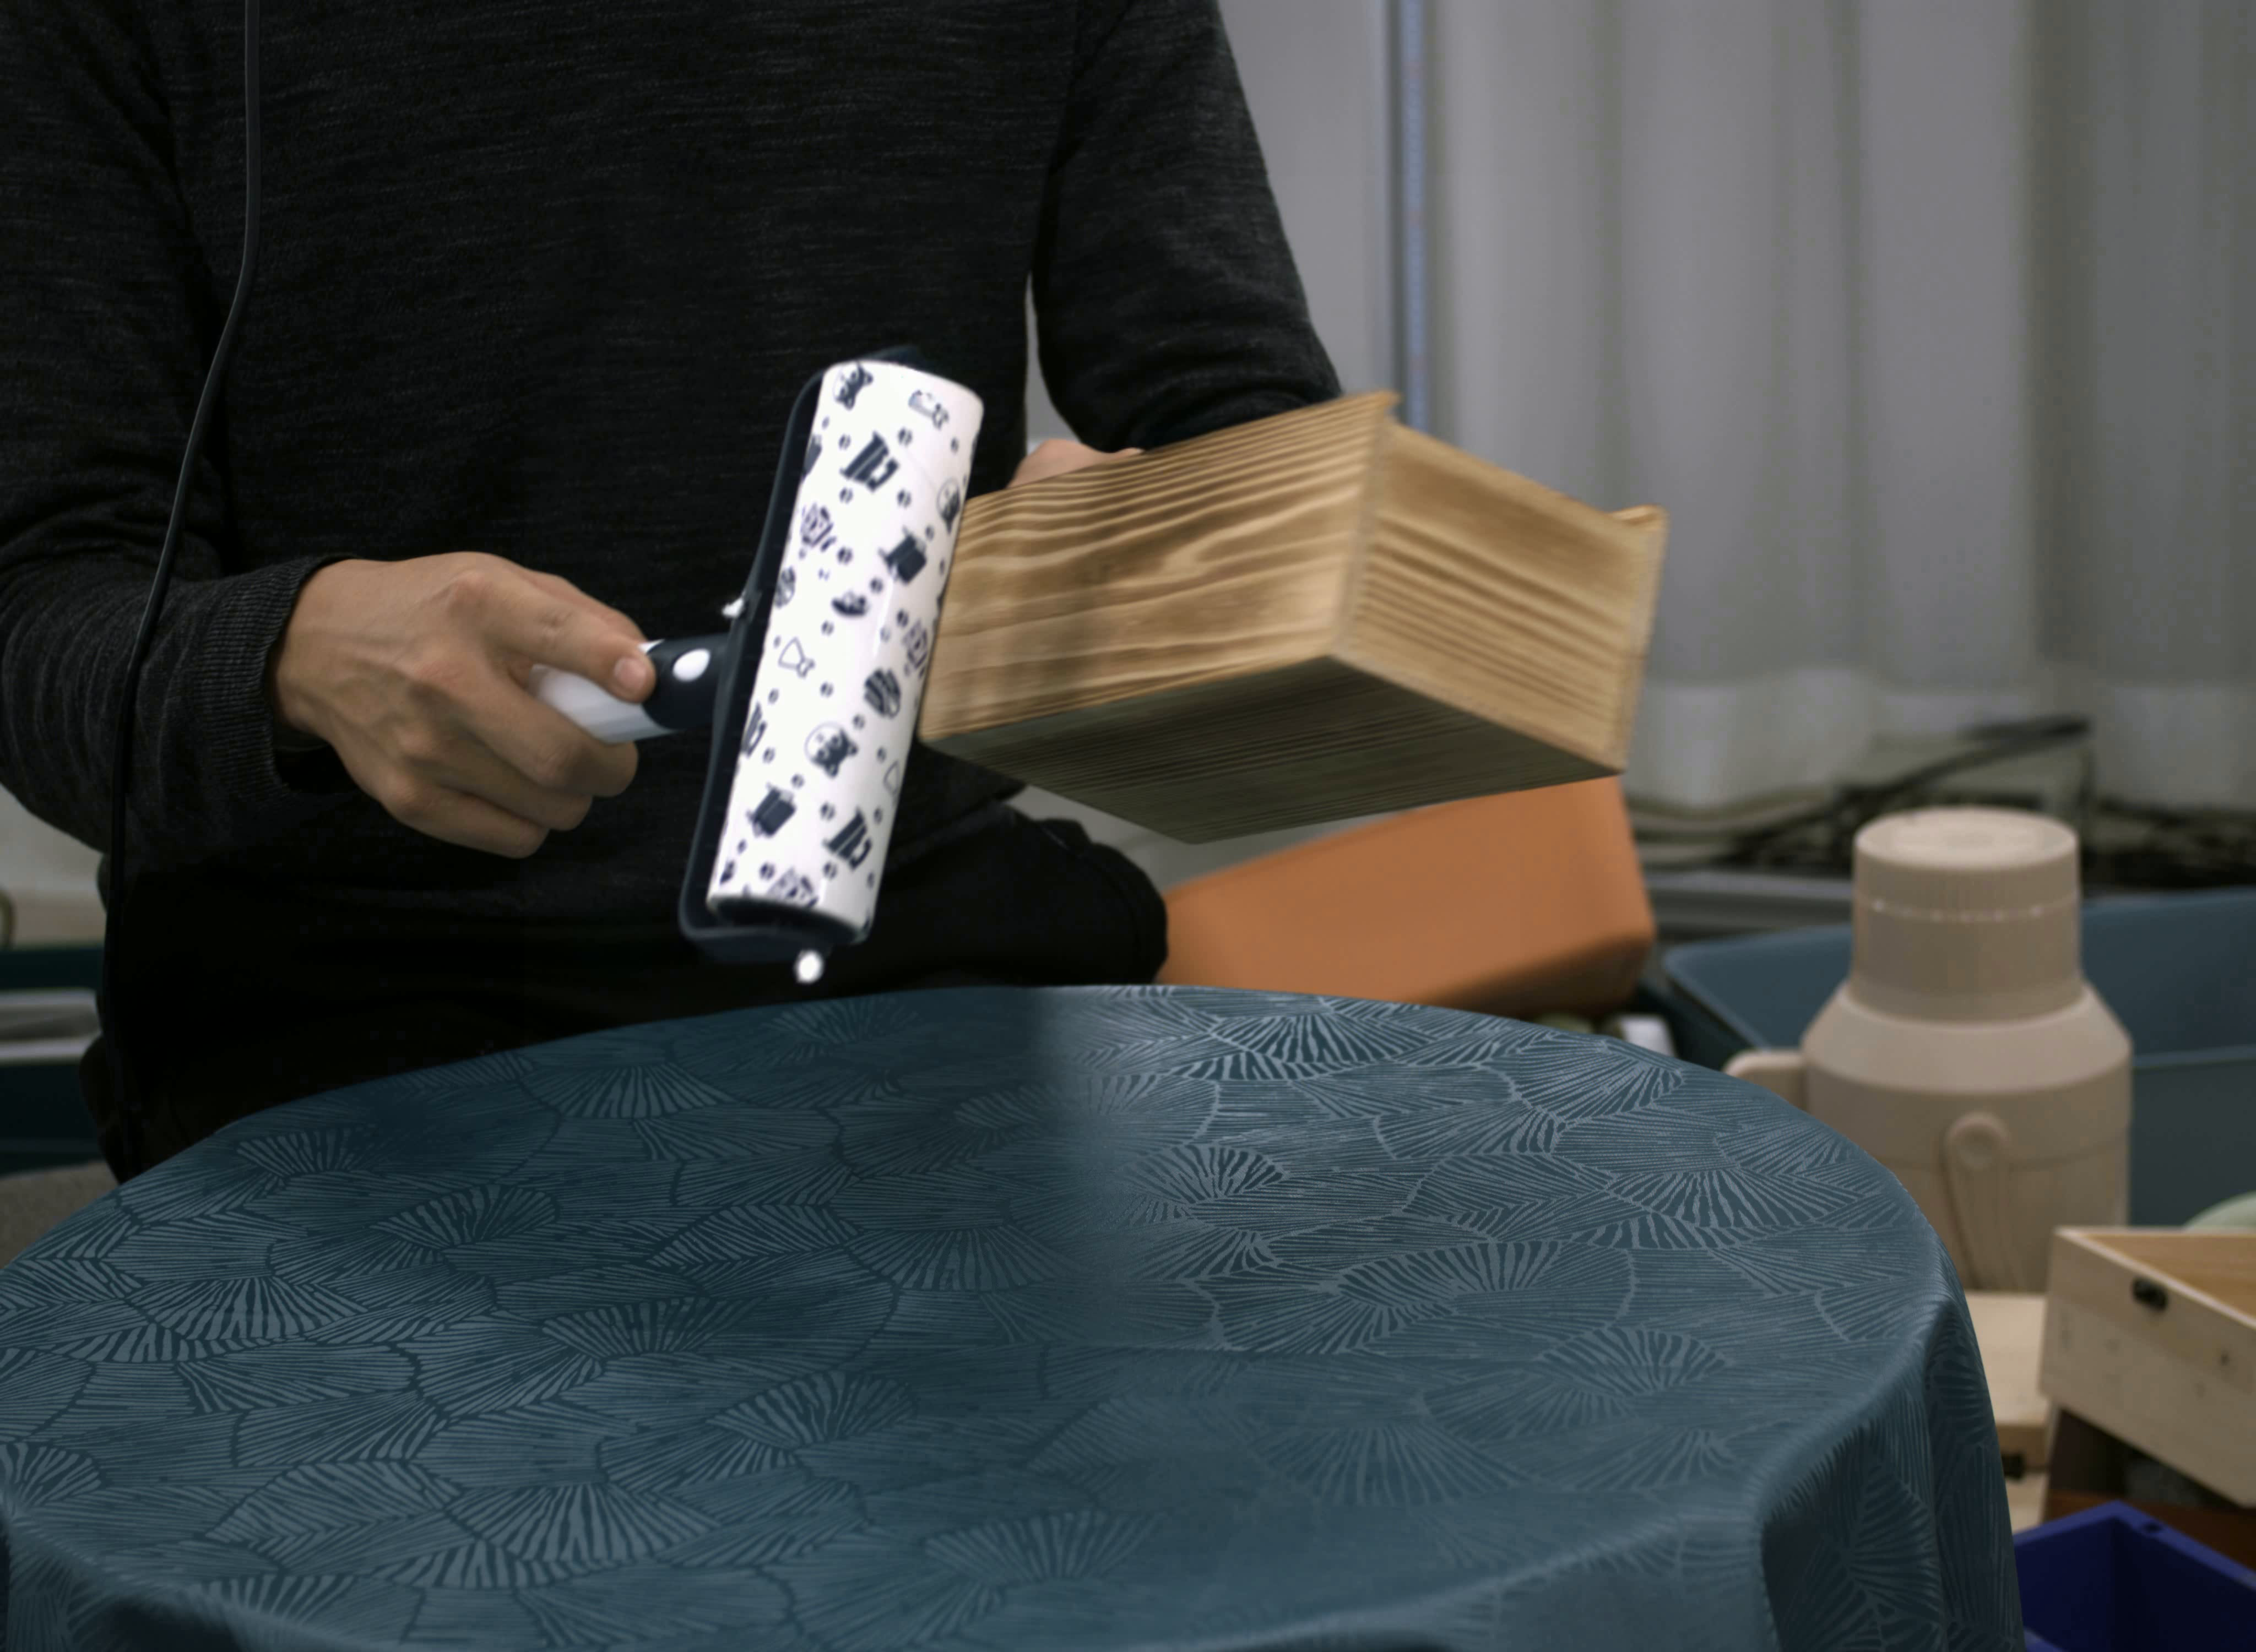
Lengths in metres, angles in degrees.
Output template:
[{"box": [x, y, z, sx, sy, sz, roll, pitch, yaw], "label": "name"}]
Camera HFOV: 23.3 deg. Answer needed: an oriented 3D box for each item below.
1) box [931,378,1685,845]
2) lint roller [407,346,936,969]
[{"box": [0.049, -0.058, 1.594, 0.106, 0.081, 0.211, 22, -18, -32], "label": "box"}, {"box": [-0.150, -0.039, 1.624, 0.050, 0.178, 0.247, 17, -16, -37], "label": "lint roller"}]
